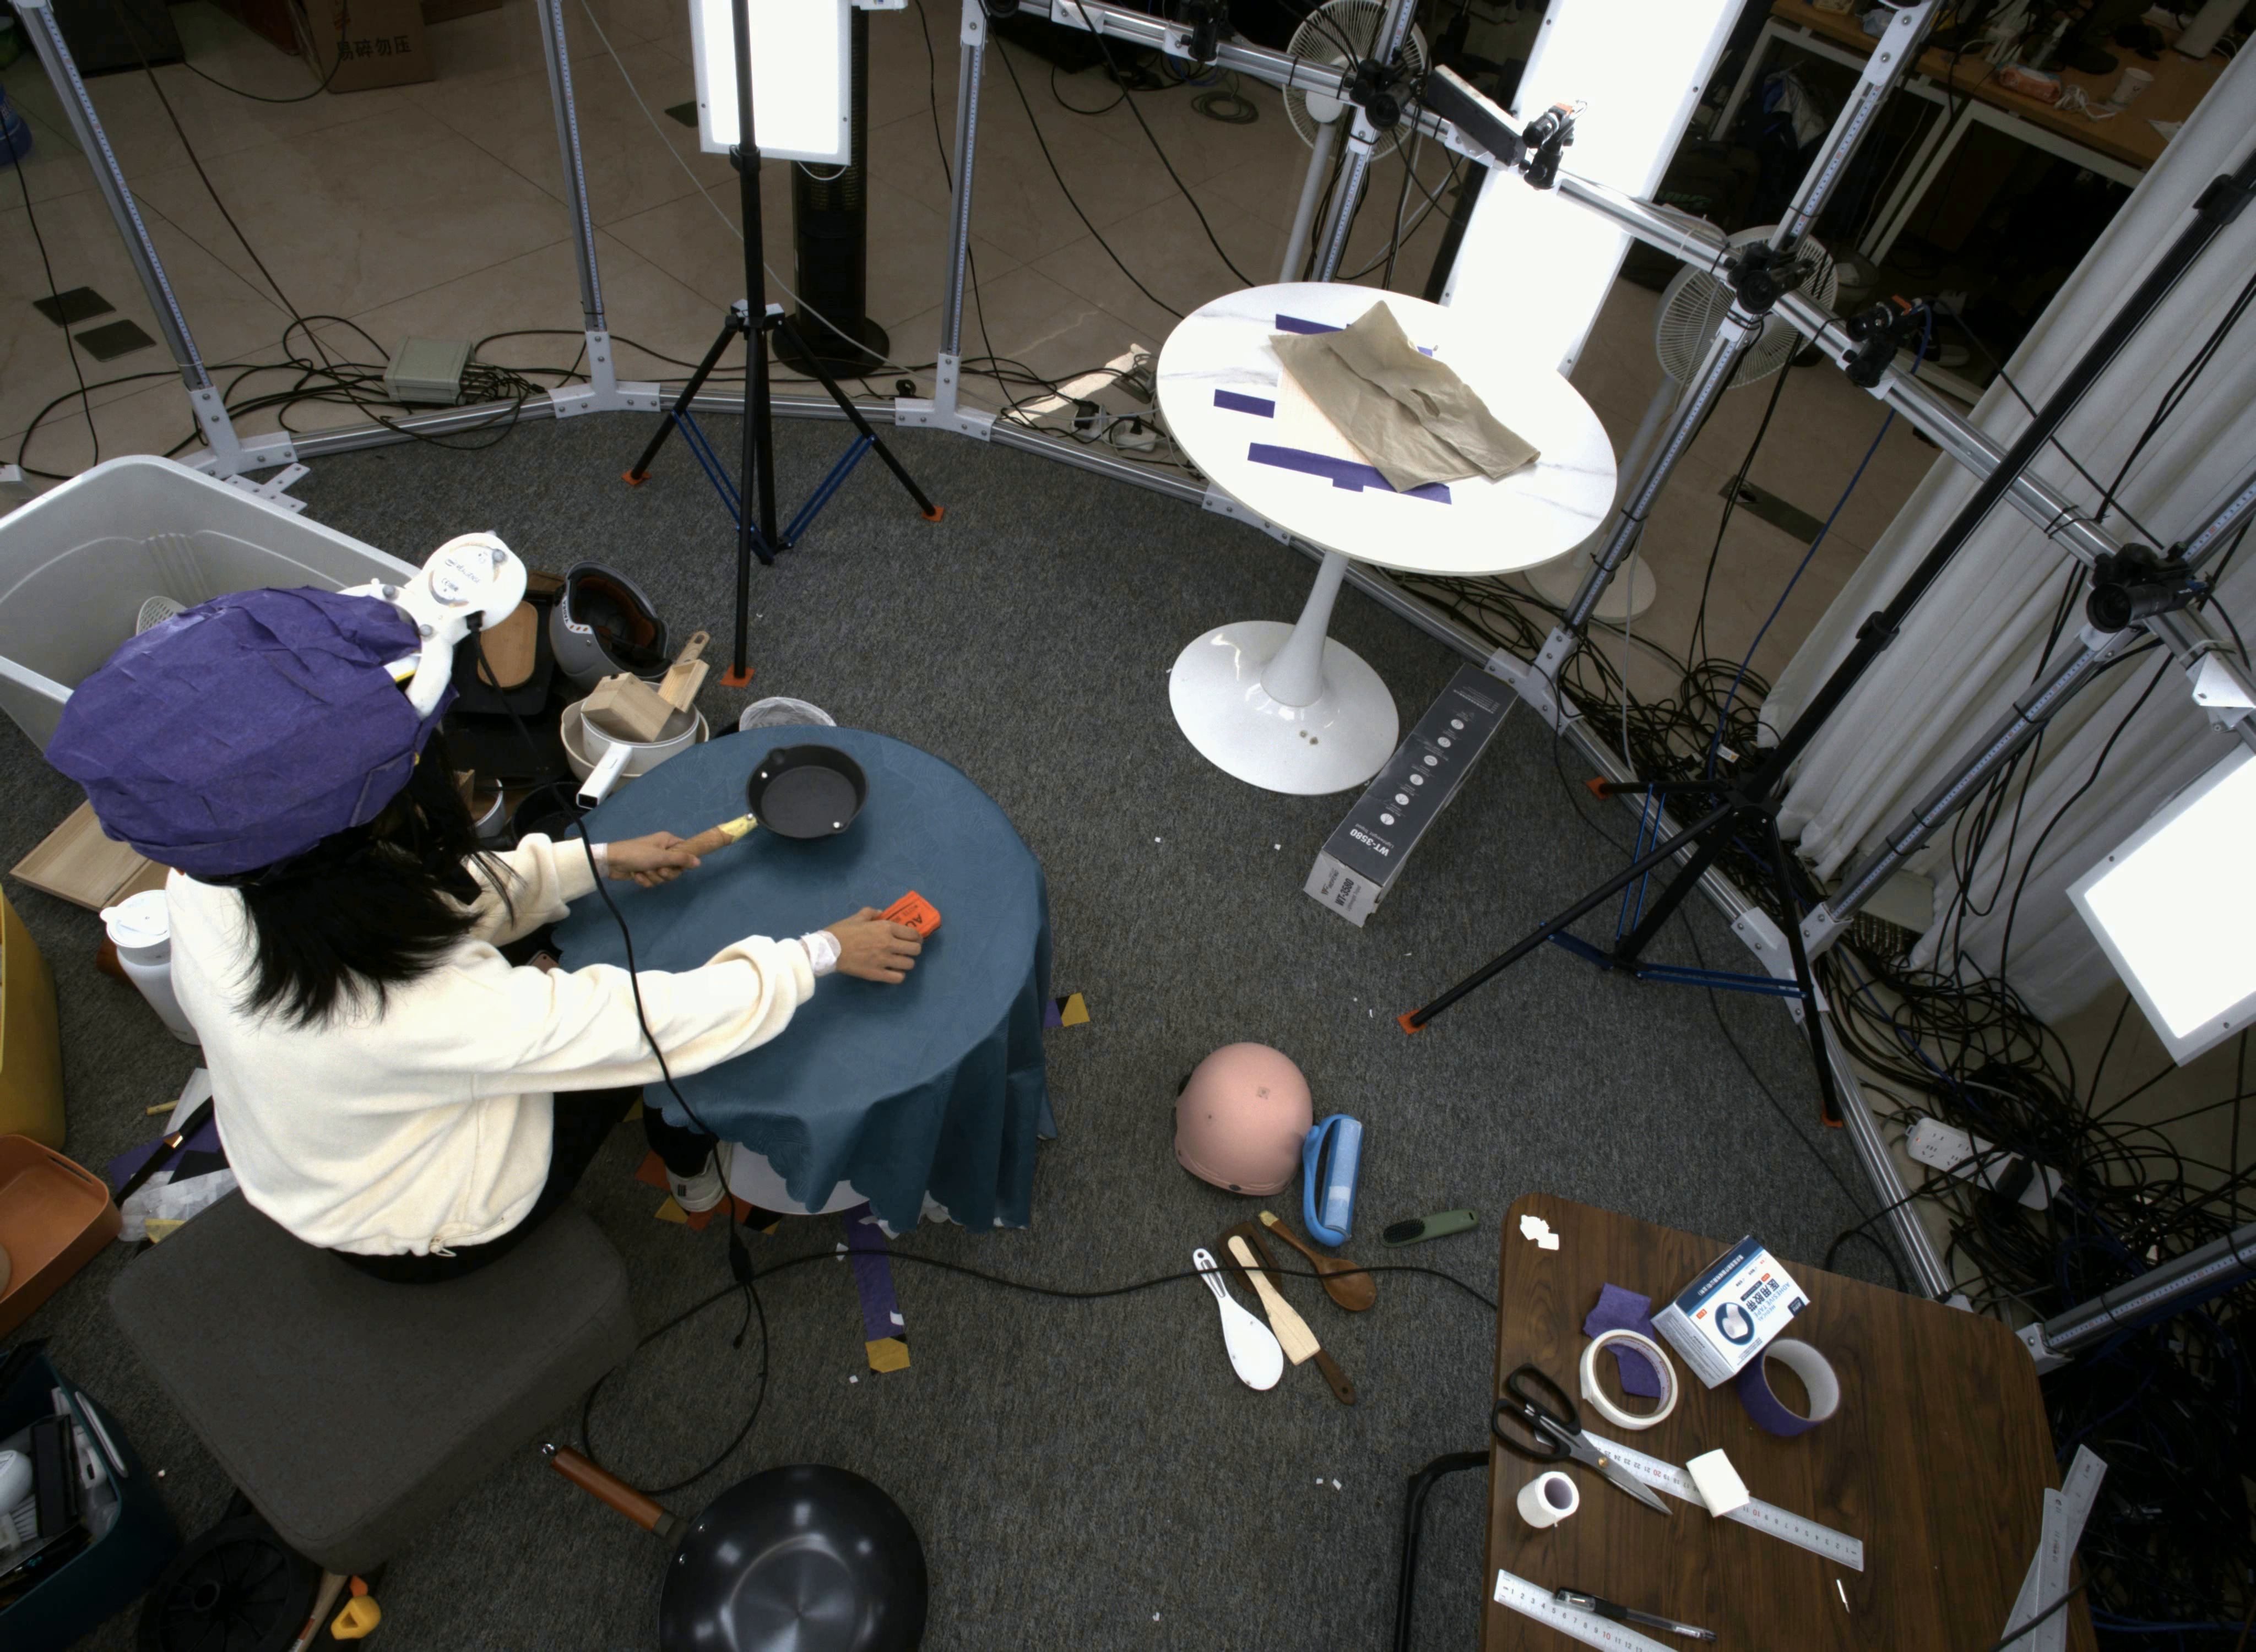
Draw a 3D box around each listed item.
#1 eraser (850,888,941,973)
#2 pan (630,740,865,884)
[{"bbox_3d":[-0.290,0.129,1.627,0.108,0.023,0.058,-38,74,-22],"label":"eraser"},{"bbox_3d":[-0.484,-0.008,1.643,0.325,0.050,0.165,-31,65,-29],"label":"pan"}]
